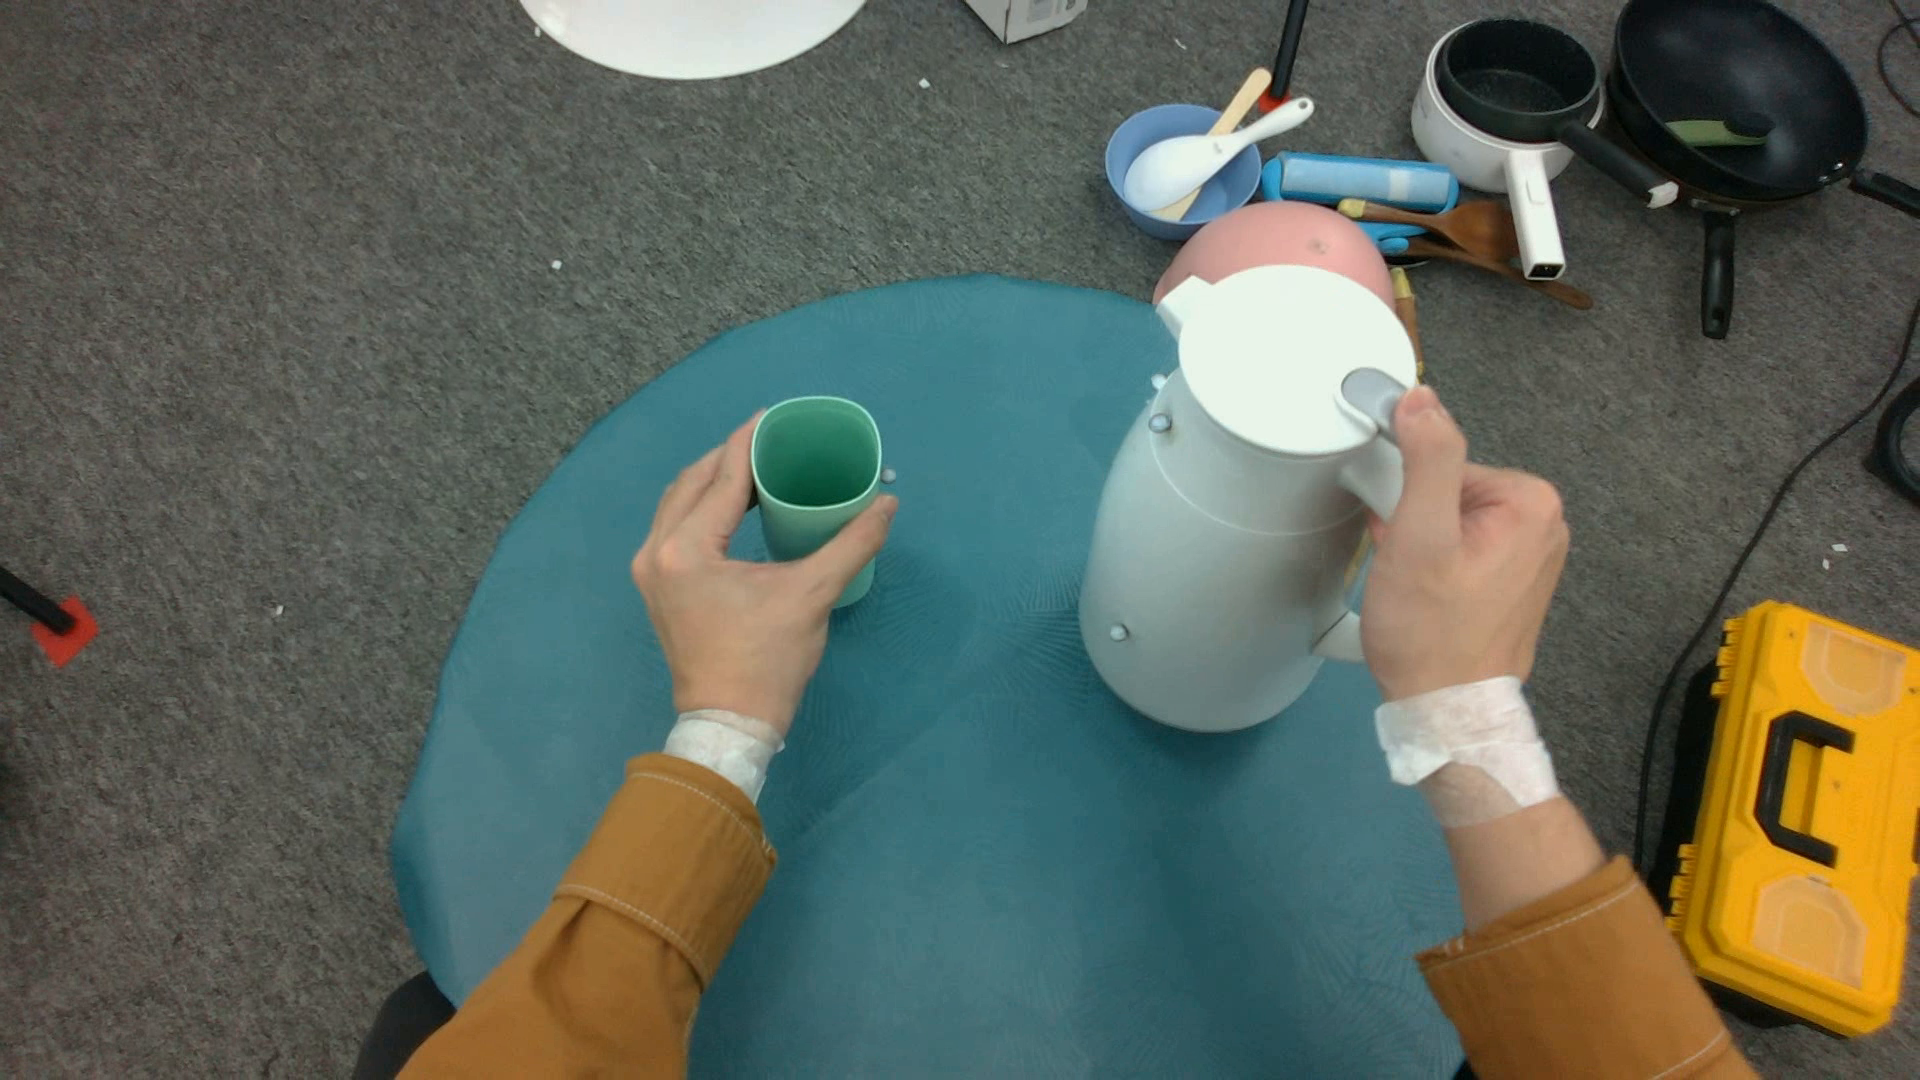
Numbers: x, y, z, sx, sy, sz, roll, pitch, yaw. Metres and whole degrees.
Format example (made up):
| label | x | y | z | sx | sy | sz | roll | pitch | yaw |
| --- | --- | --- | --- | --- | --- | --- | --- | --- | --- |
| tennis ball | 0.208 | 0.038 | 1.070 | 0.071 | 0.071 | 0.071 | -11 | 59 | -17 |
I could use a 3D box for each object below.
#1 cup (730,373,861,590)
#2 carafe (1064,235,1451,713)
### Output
| label | x | y | z | sx | sy | sz | roll | pitch | yaw |
| --- | --- | --- | --- | --- | --- | --- | --- | --- | --- |
| cup | -0.085 | -0.025 | 0.716 | 0.067 | 0.132 | 0.067 | 2 | 65 | -5 |
| carafe | 0.137 | -0.017 | 0.628 | 0.168 | 0.247 | 0.133 | 40 | 68 | 19 |
